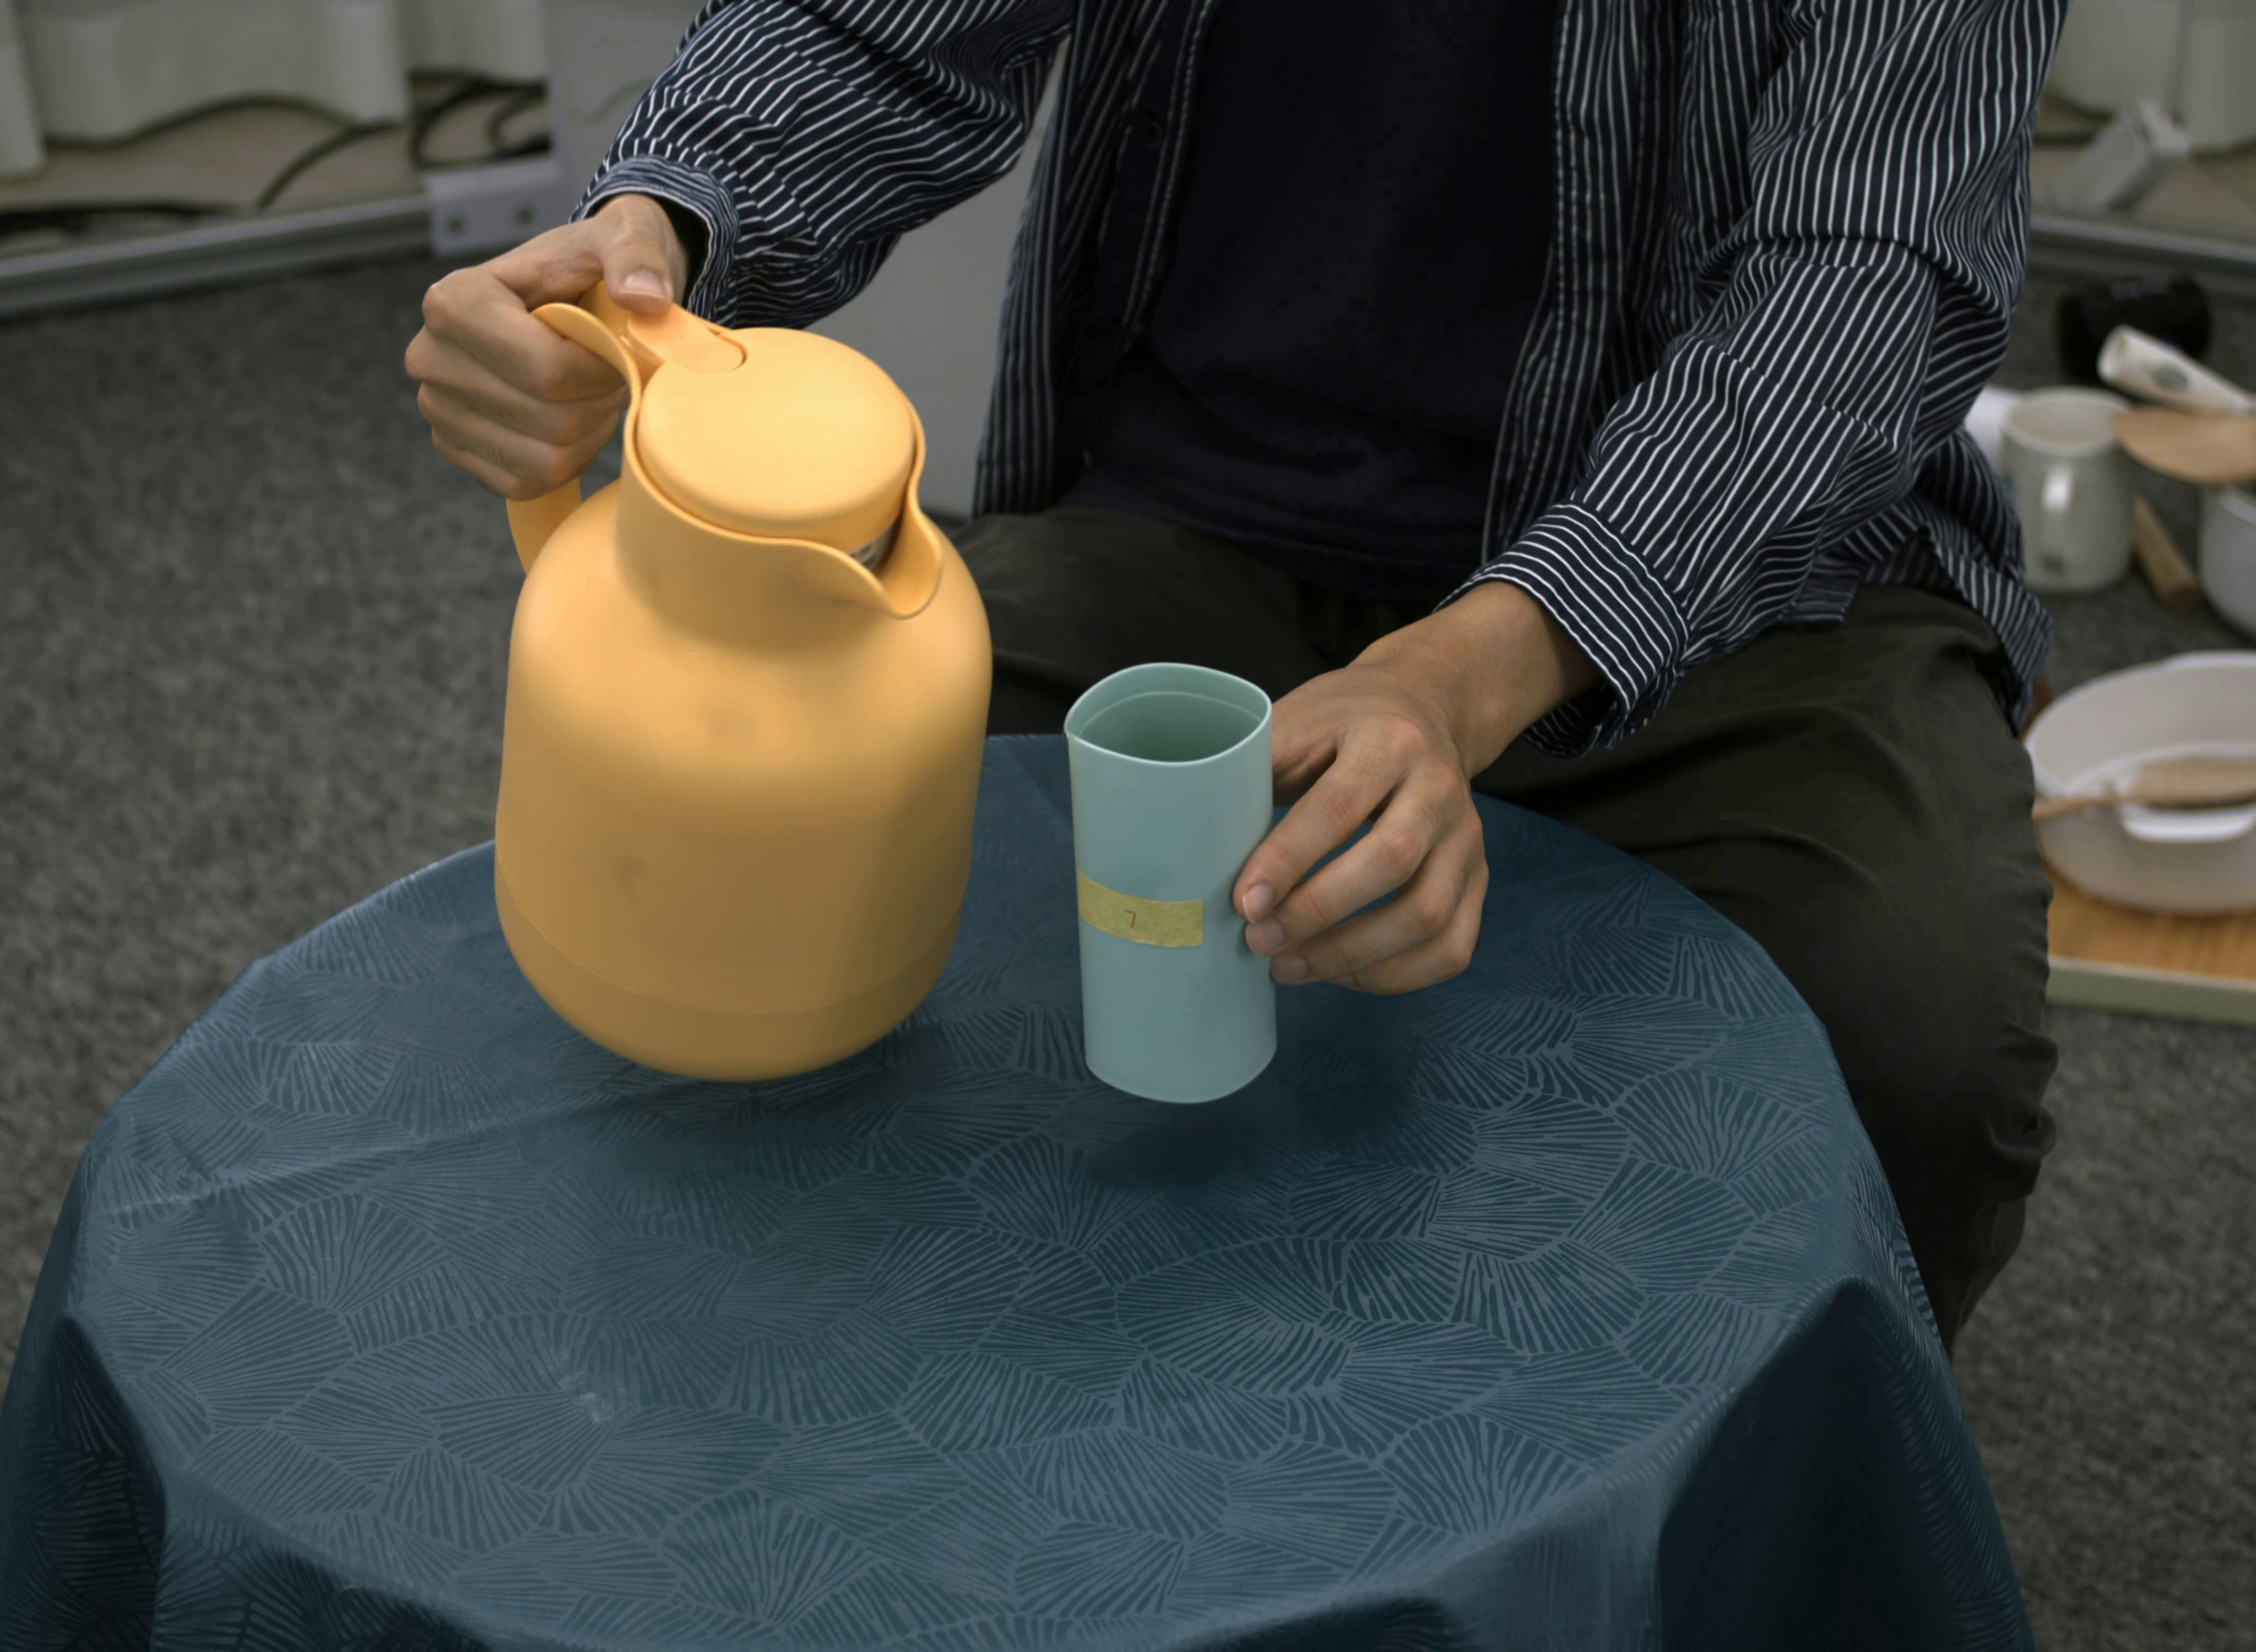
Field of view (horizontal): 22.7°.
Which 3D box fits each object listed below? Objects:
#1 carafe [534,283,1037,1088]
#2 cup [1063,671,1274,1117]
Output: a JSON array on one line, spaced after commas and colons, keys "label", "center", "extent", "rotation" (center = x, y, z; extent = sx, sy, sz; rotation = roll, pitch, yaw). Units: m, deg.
[{"label": "carafe", "center": [-0.123, -0.056, 1.878], "extent": [0.165, 0.256, 0.203], "rotation": [-30, 58, -34]}, {"label": "cup", "center": [0.015, 0.022, 1.830], "extent": [0.066, 0.131, 0.068], "rotation": [-2, 29, 1]}]
